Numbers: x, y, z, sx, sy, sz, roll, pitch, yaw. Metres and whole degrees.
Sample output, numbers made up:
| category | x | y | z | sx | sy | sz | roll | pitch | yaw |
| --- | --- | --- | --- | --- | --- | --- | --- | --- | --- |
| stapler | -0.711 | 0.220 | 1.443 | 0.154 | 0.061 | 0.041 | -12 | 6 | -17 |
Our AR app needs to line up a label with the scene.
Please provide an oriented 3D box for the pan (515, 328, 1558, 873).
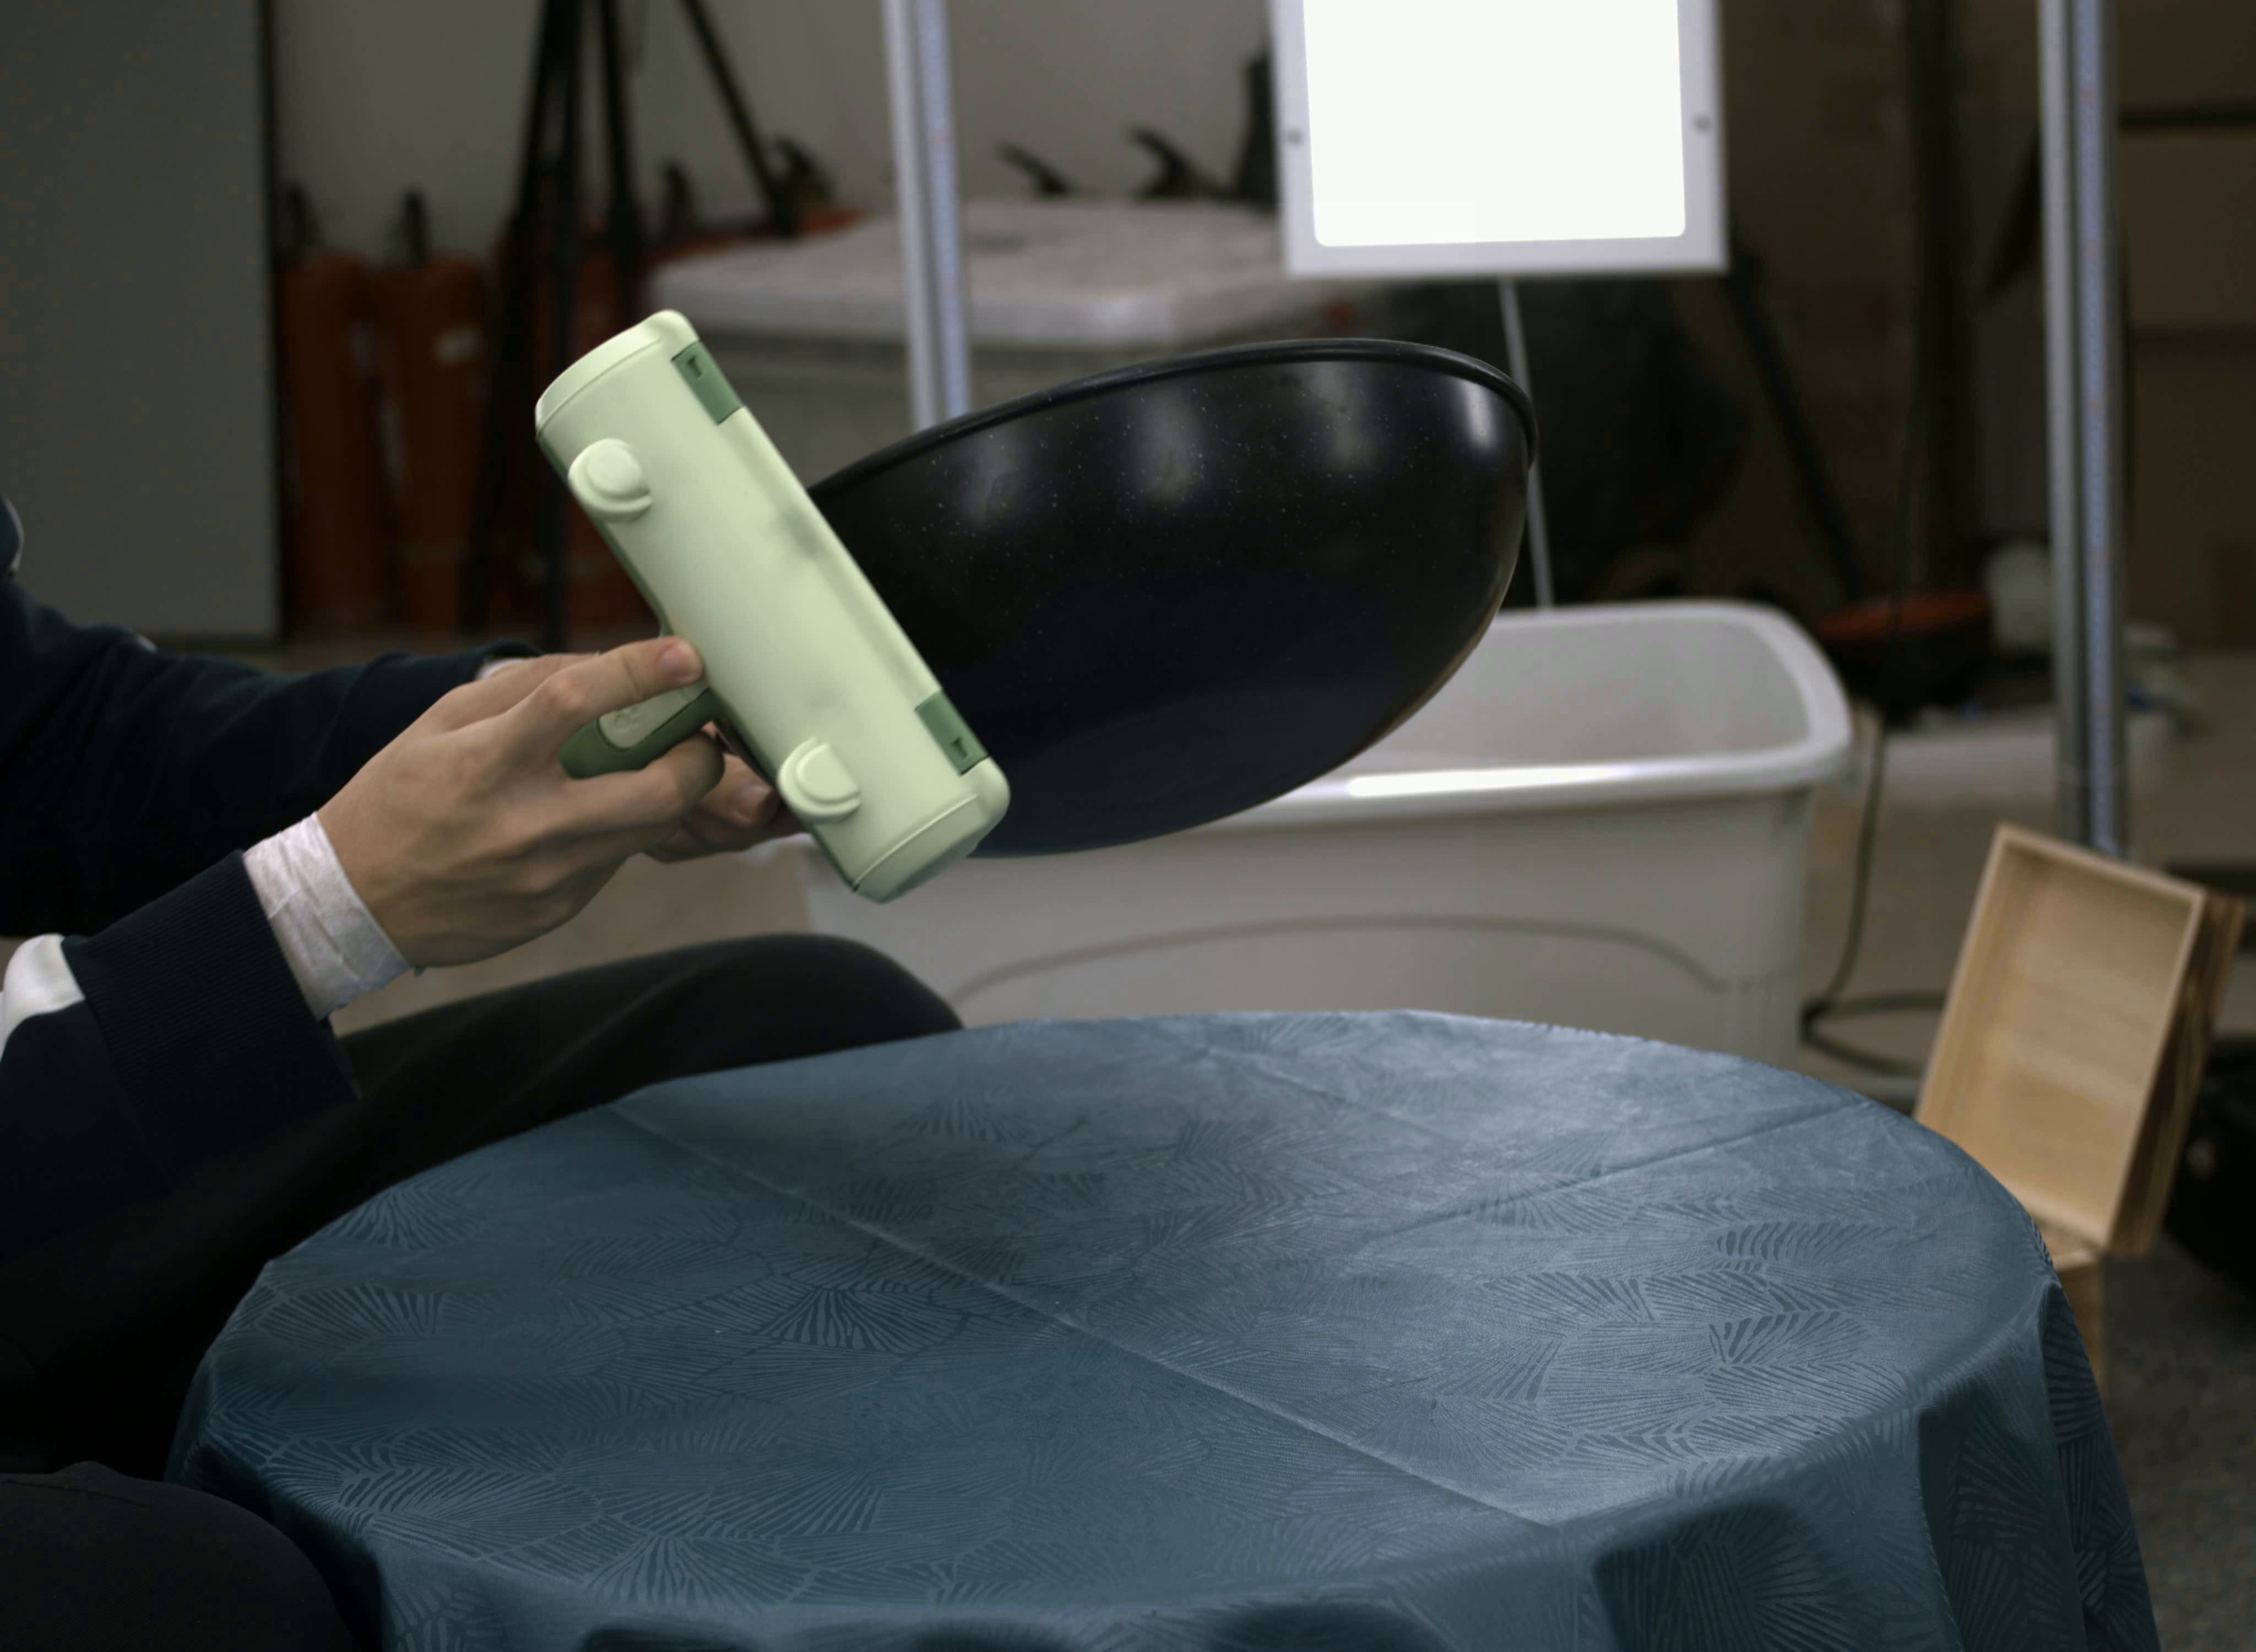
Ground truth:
| category | x | y | z | sx | sy | sz | roll | pitch | yaw |
| --- | --- | --- | --- | --- | --- | --- | --- | --- | --- |
| pan | -0.054 | -0.037 | 1.917 | 0.302 | 0.112 | 0.487 | 6 | -27 | -45 |

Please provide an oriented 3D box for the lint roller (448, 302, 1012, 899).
| category | x | y | z | sx | sy | sz | roll | pitch | yaw |
| --- | --- | --- | --- | --- | --- | --- | --- | --- | --- |
| lint roller | -0.158 | -0.037 | 1.751 | 0.185 | 0.199 | 0.081 | -37 | -6 | 18 |
